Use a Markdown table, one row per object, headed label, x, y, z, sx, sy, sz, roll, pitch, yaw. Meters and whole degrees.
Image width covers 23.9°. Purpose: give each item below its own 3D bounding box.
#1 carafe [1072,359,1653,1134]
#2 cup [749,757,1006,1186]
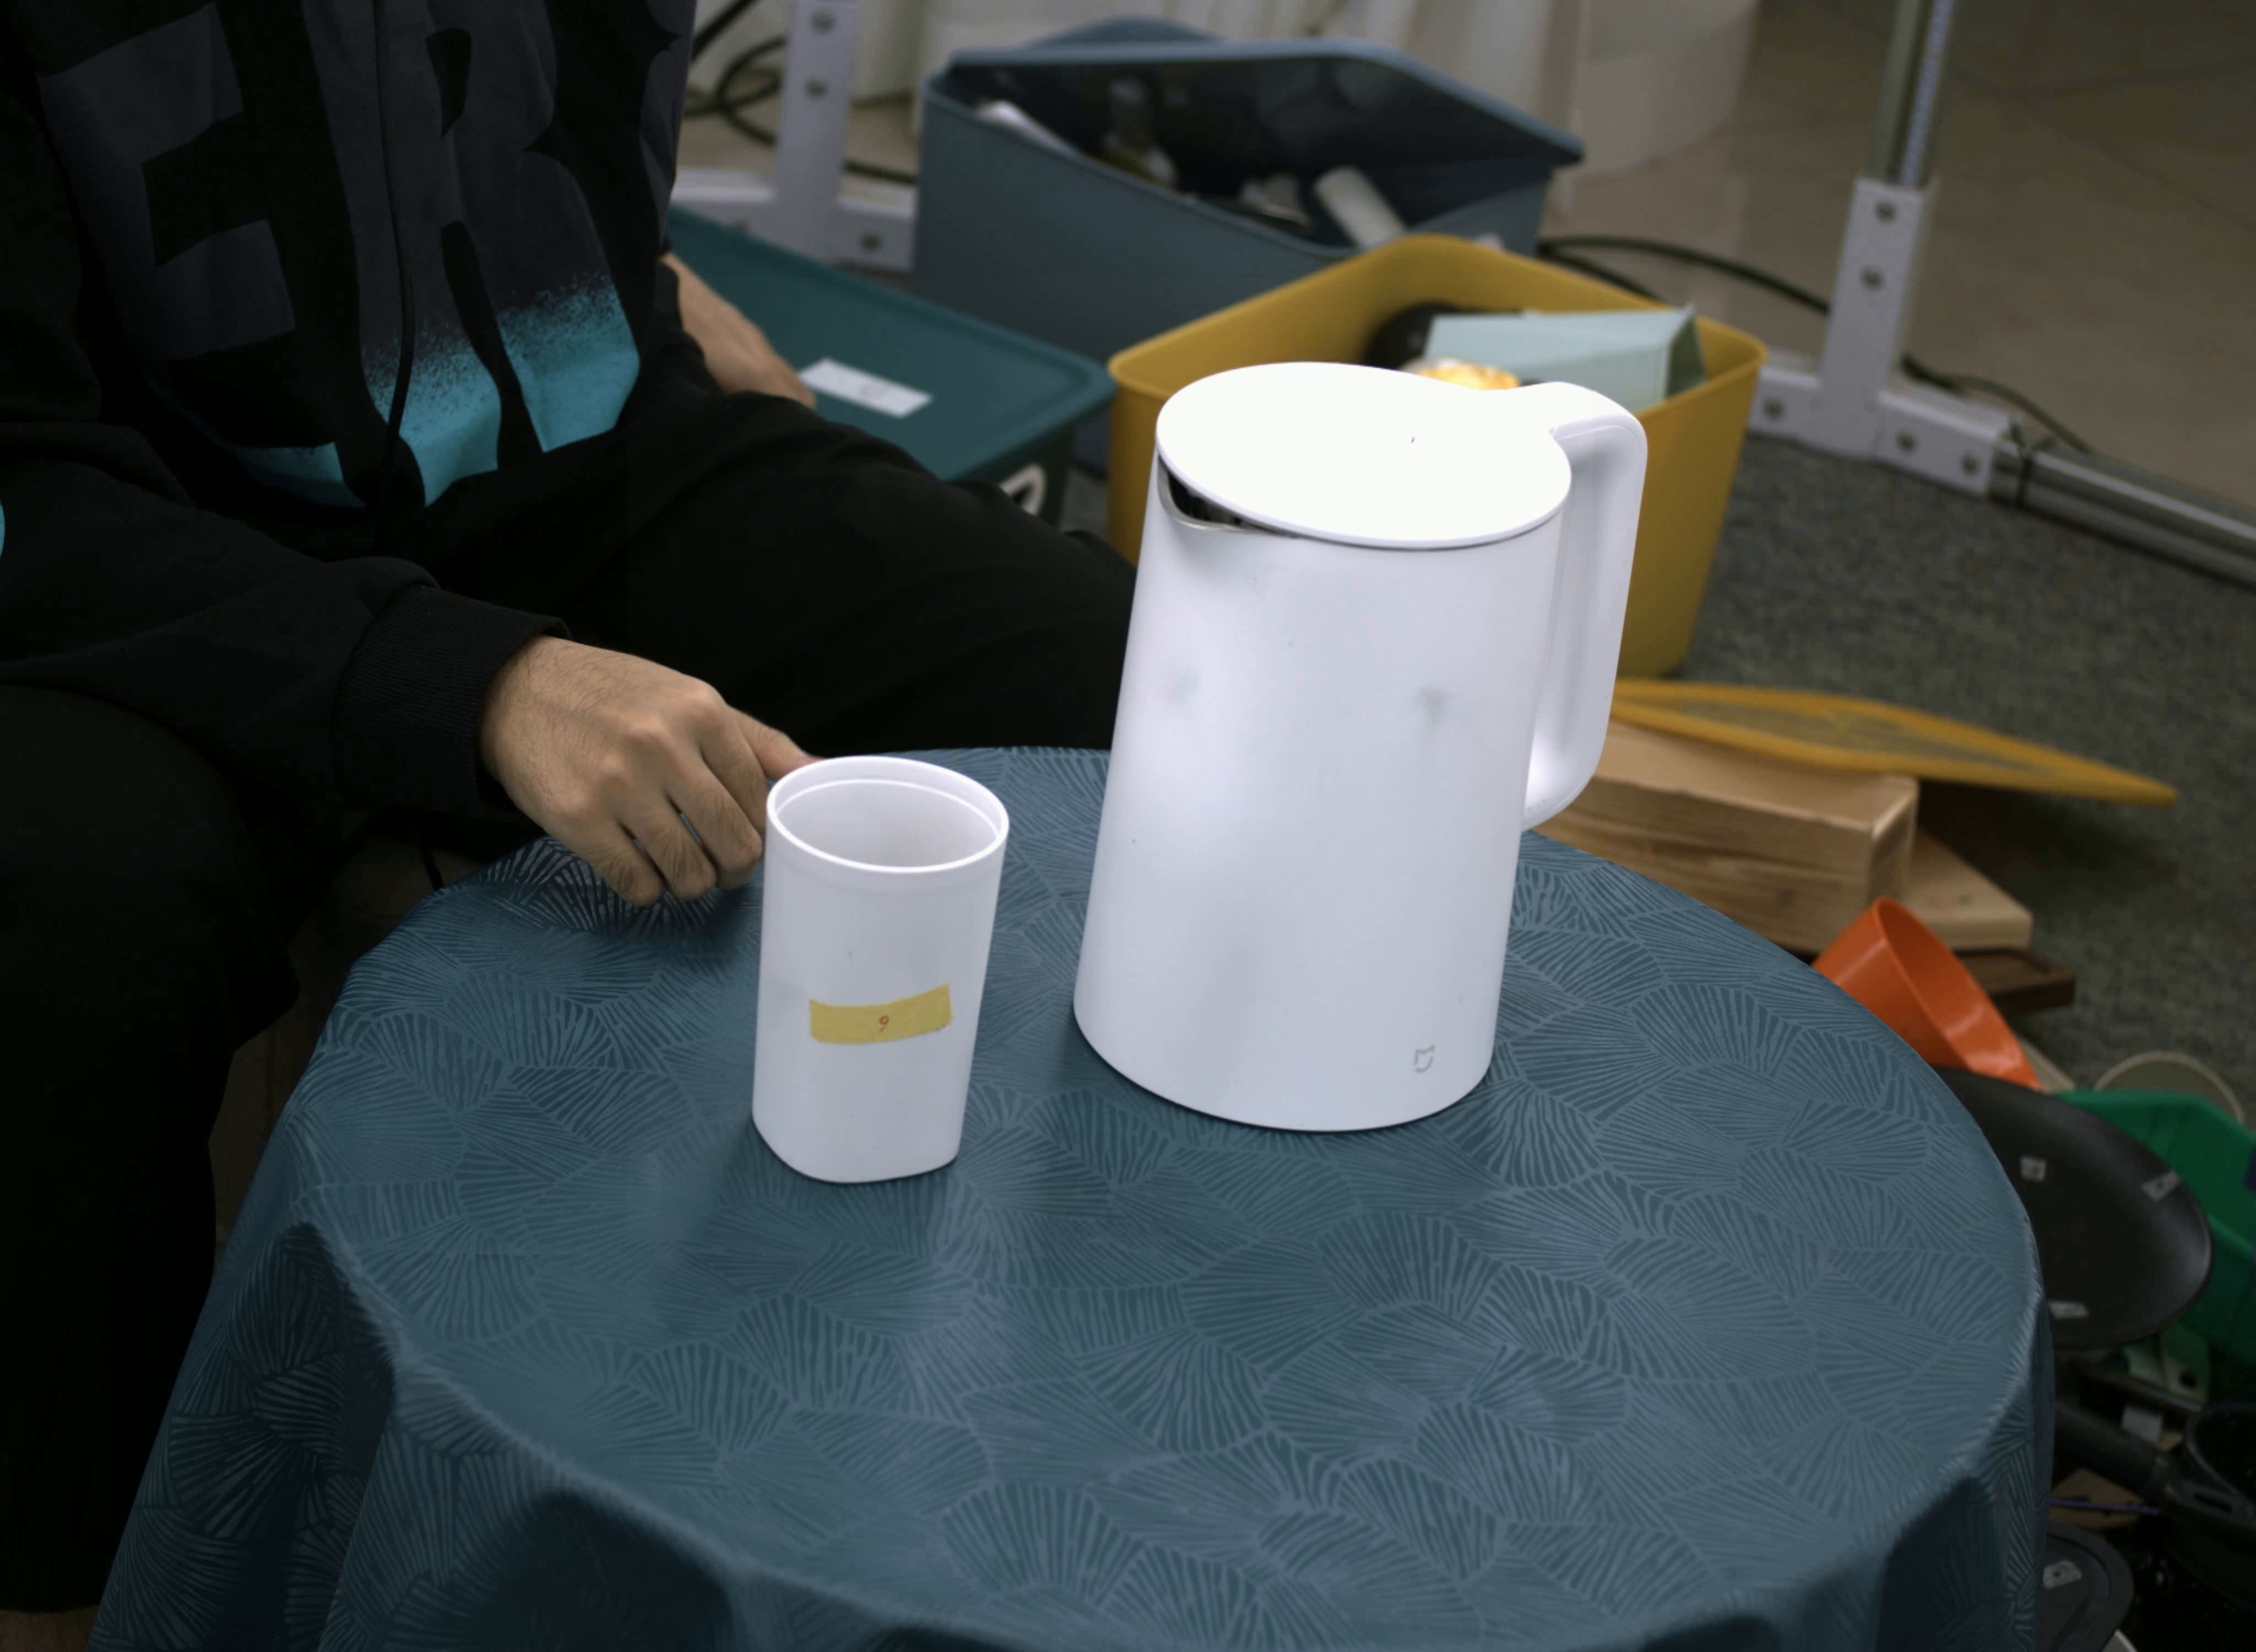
| label | x | y | z | sx | sy | sz | roll | pitch | yaw |
| --- | --- | --- | --- | --- | --- | --- | --- | --- | --- |
| carafe | 0.089 | -0.034 | 1.874 | 0.212 | 0.239 | 0.153 | -16 | 35 | -36 |
| cup | -0.087 | 0.051 | 1.786 | 0.081 | 0.125 | 0.082 | 5 | 26 | -3 |
